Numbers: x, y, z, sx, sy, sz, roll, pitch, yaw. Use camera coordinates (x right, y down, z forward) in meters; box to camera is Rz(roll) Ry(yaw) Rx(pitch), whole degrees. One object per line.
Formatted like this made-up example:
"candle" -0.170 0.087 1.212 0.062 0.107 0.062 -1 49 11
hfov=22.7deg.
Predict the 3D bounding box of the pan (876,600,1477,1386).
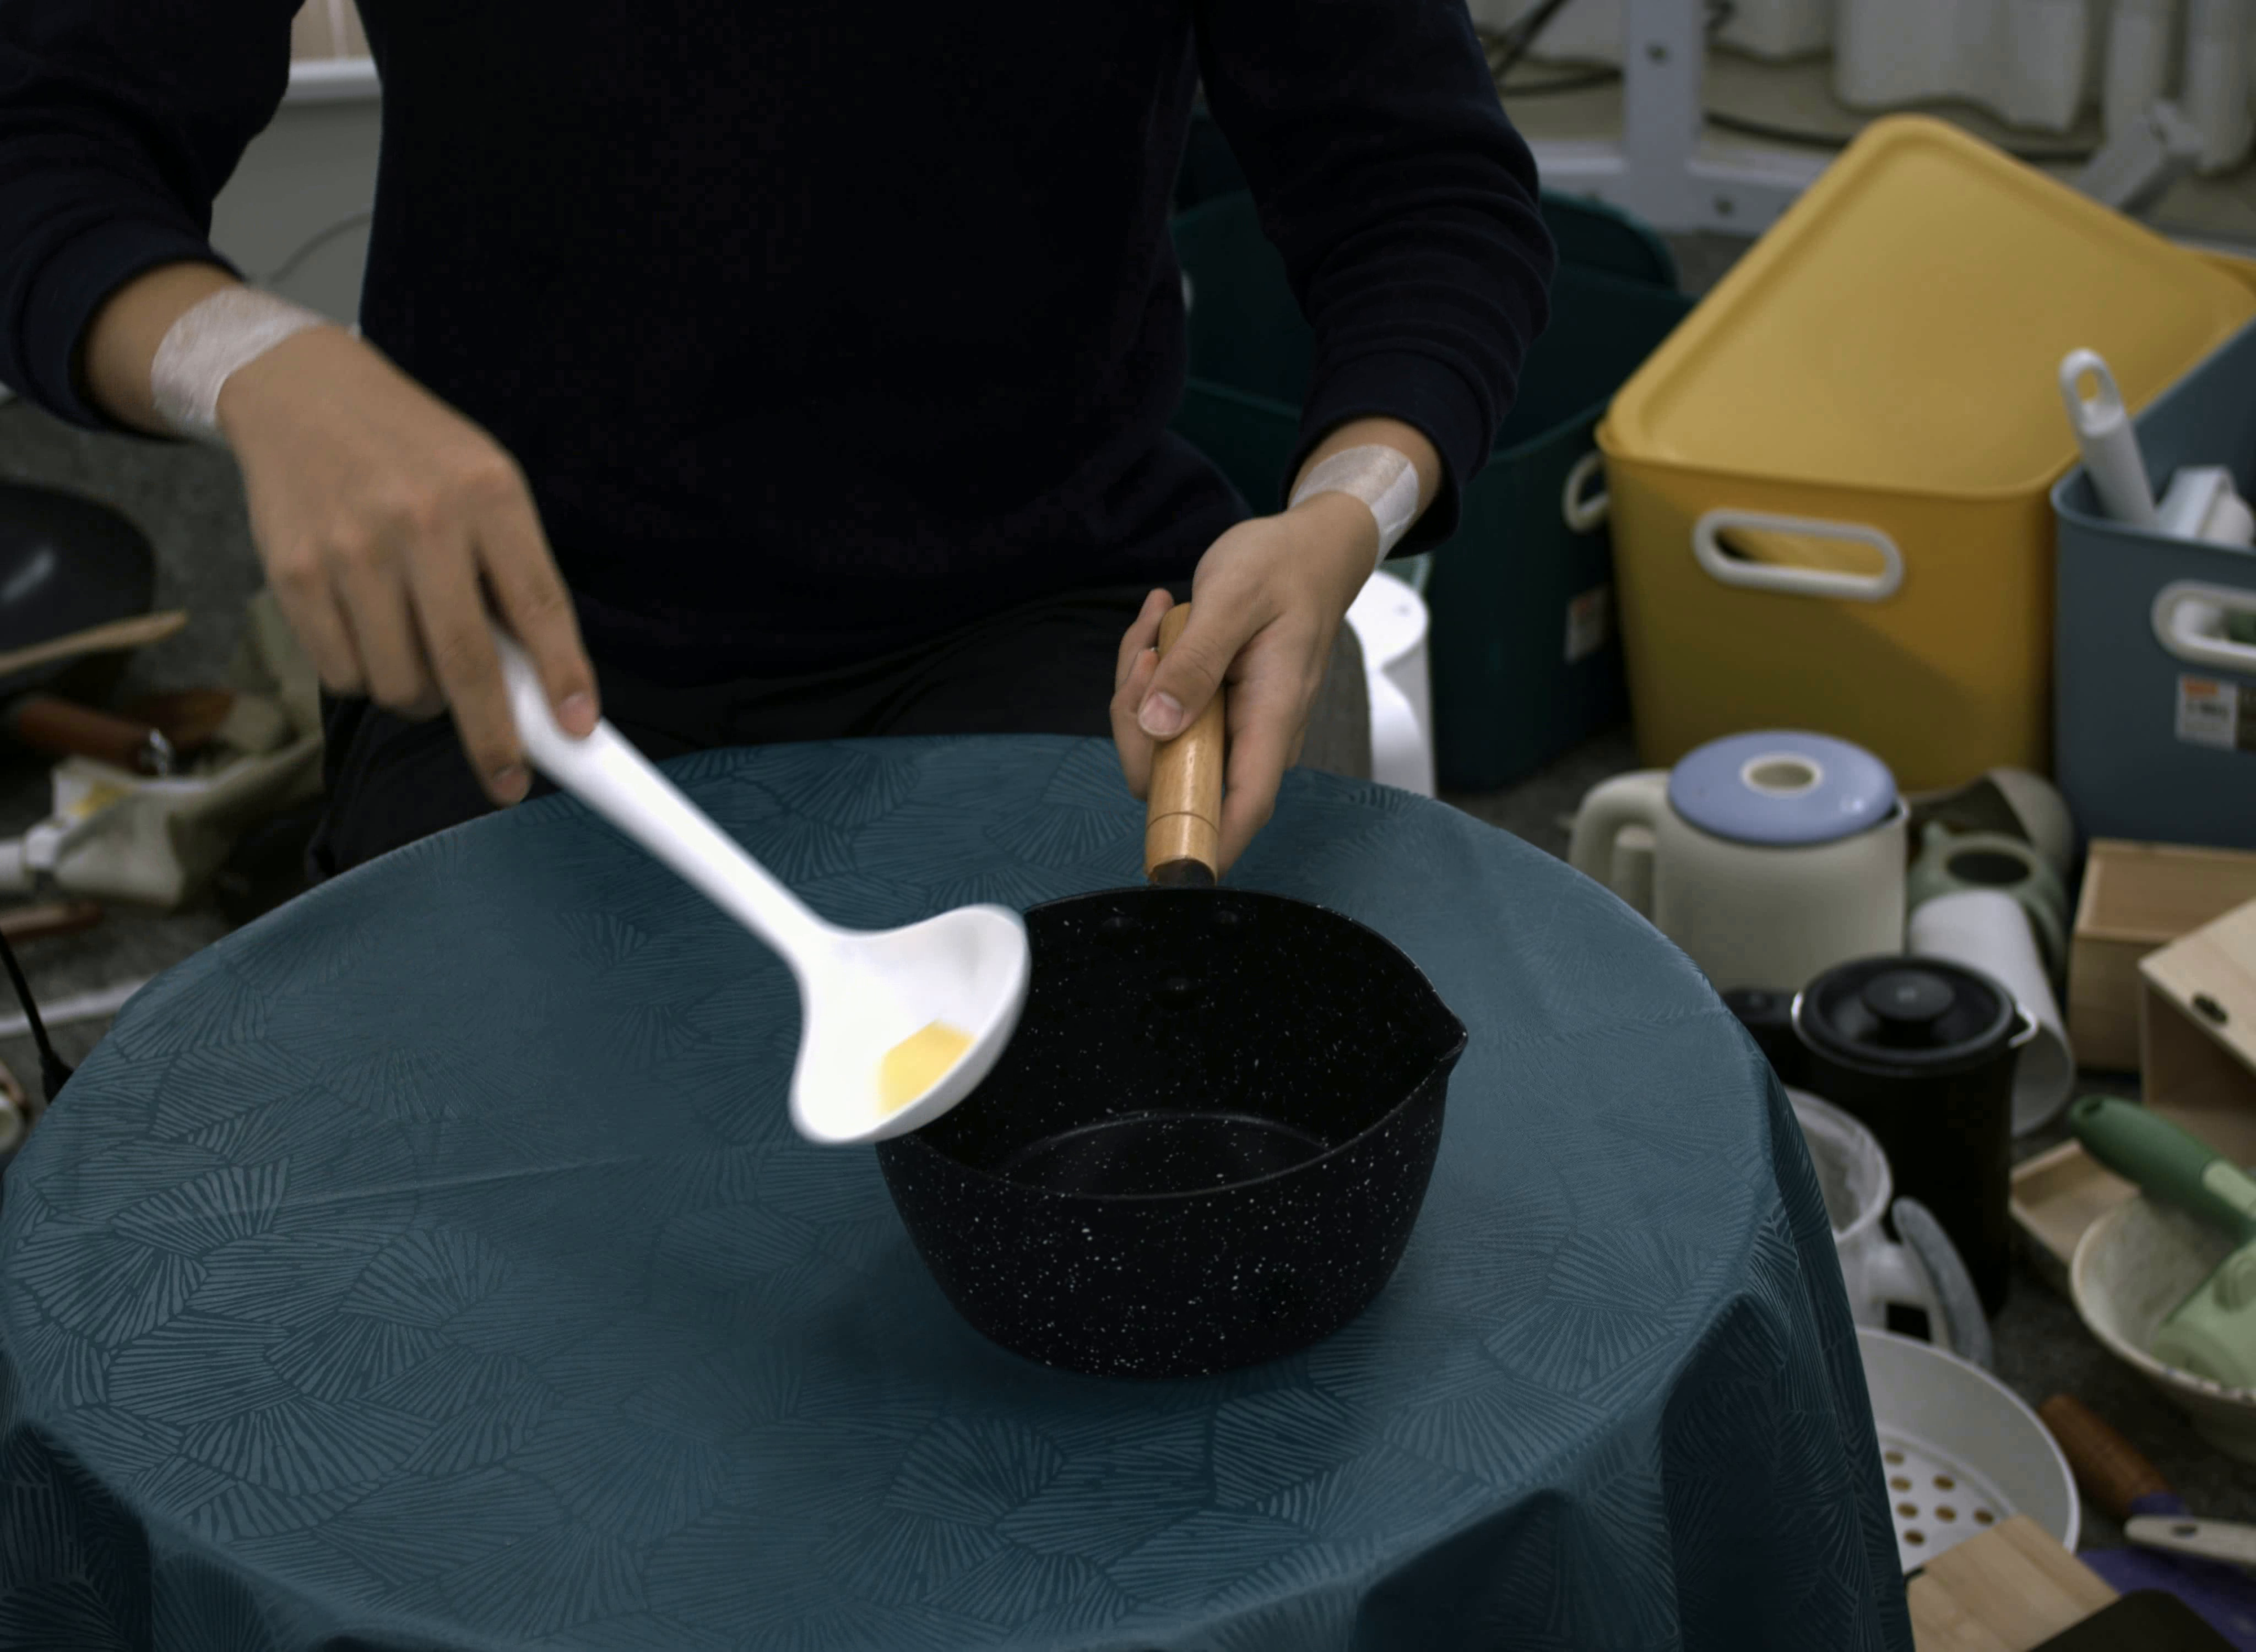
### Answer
"pan" 0.013 0.052 1.868 0.206 0.107 0.348 -2 31 4

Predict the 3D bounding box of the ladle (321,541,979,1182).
"ladle" -0.155 0.003 1.748 0.294 0.090 0.069 41 1 24
